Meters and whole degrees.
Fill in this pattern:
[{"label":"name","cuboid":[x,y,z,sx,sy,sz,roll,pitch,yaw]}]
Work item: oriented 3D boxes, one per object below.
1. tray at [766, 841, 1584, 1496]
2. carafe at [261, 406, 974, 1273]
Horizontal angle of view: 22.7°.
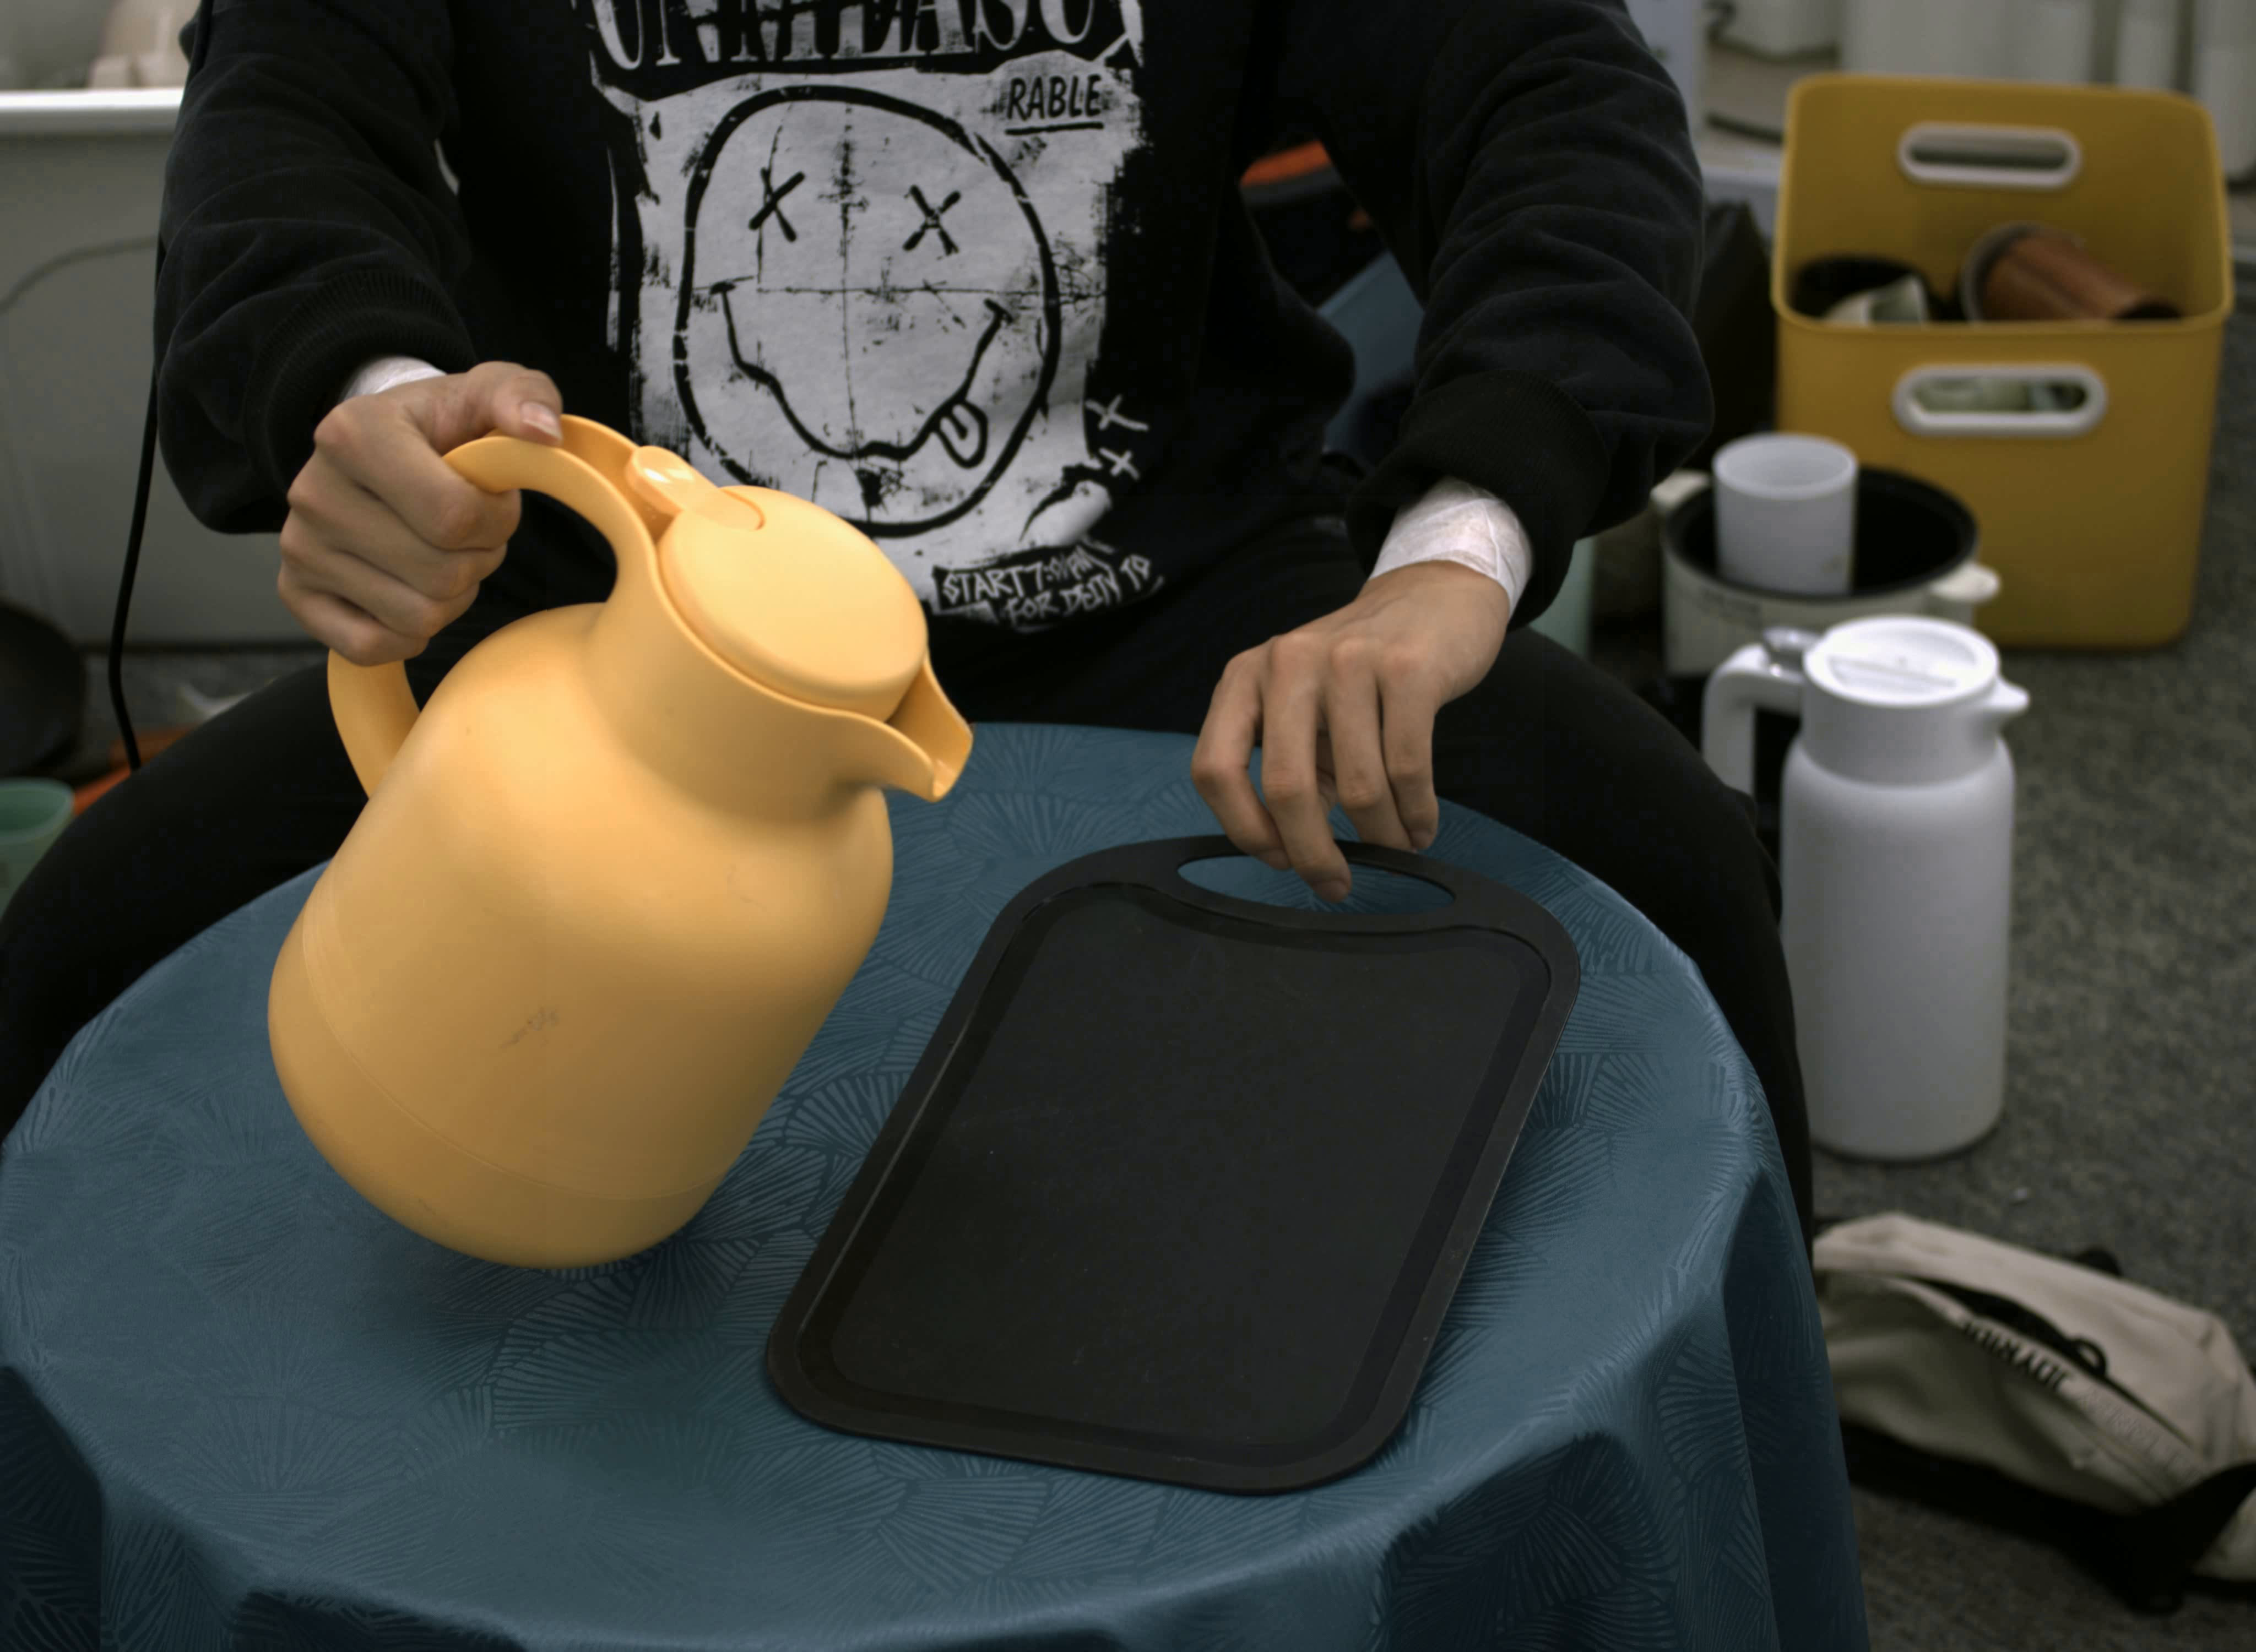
[{"label":"tray","cuboid":[0.022,0.100,1.842,0.209,0.009,0.332,7,37,18]},{"label":"carafe","cuboid":[-0.172,-0.003,1.784,0.203,0.256,0.165,42,30,11]}]
